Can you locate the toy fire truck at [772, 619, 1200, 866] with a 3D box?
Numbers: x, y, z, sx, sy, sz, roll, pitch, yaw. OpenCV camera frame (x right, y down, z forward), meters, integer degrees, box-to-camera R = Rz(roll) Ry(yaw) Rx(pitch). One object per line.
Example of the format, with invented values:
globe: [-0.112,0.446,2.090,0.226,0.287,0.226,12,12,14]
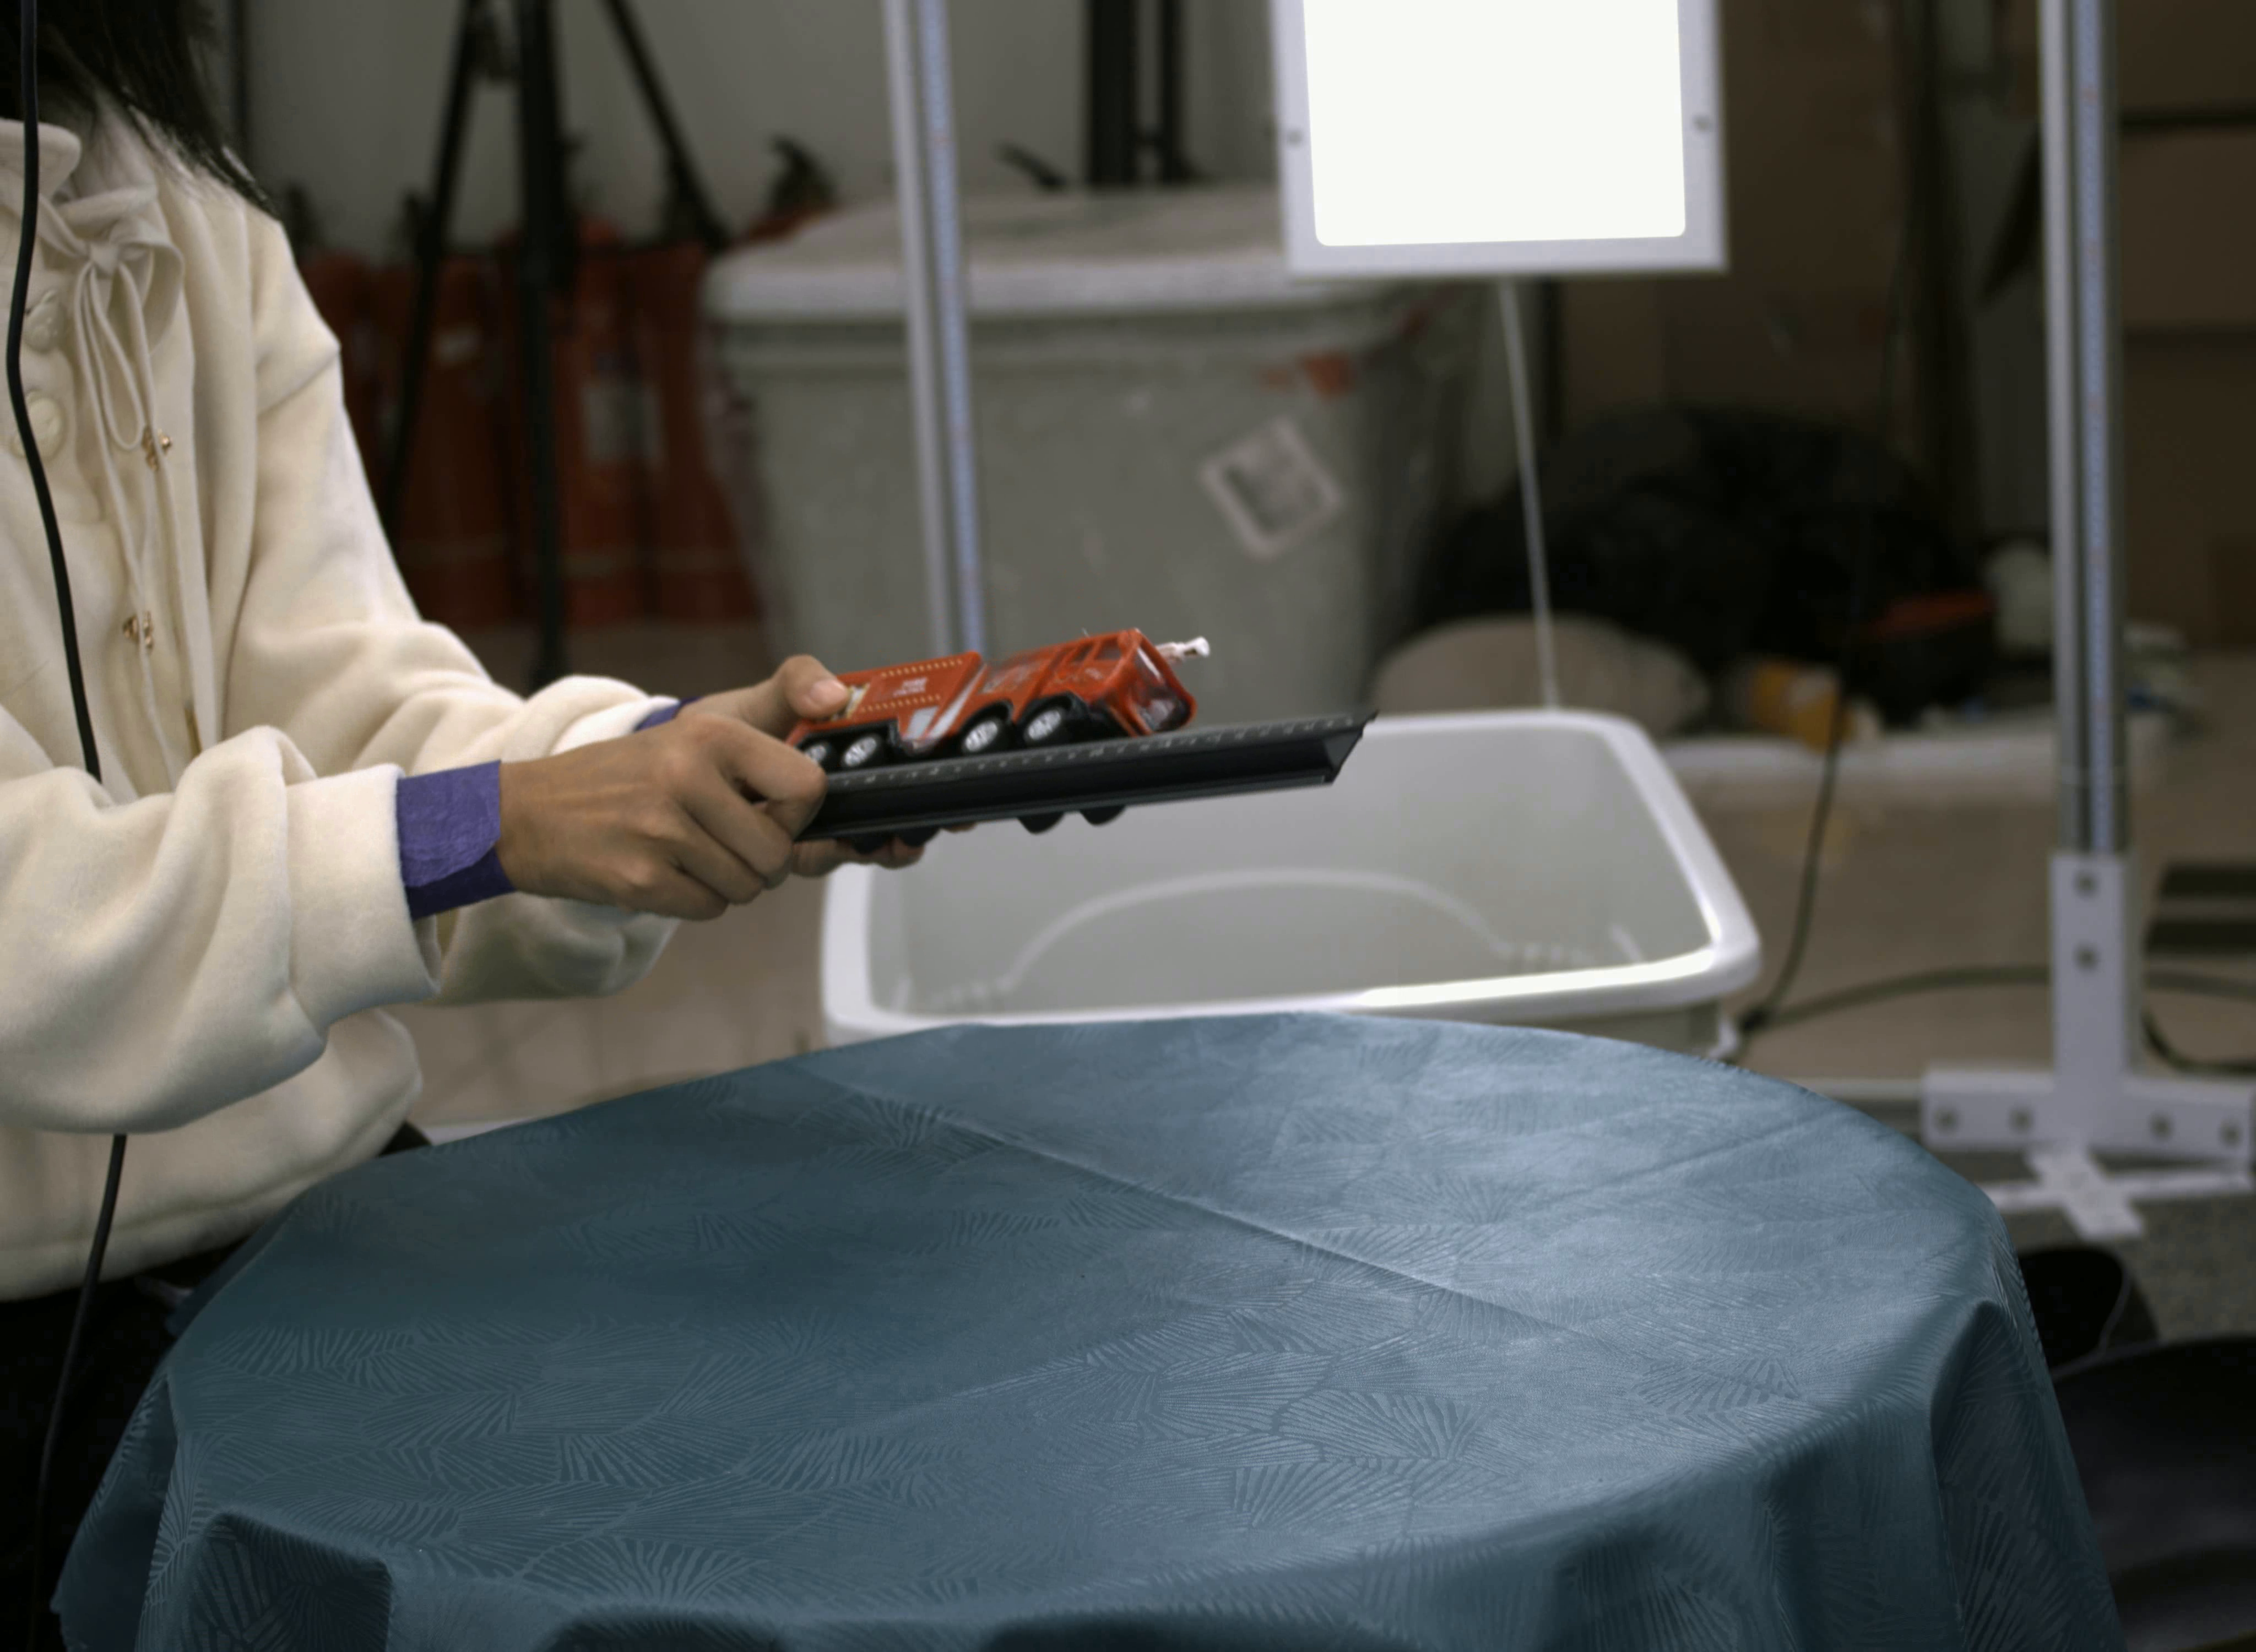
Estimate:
toy fire truck: [-0.049,-0.030,1.921,0.172,0.053,0.069,-10,41,43]

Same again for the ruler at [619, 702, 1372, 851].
ruler: [-0.051,-0.021,1.847,0.319,0.017,0.038,-6,34,41]
